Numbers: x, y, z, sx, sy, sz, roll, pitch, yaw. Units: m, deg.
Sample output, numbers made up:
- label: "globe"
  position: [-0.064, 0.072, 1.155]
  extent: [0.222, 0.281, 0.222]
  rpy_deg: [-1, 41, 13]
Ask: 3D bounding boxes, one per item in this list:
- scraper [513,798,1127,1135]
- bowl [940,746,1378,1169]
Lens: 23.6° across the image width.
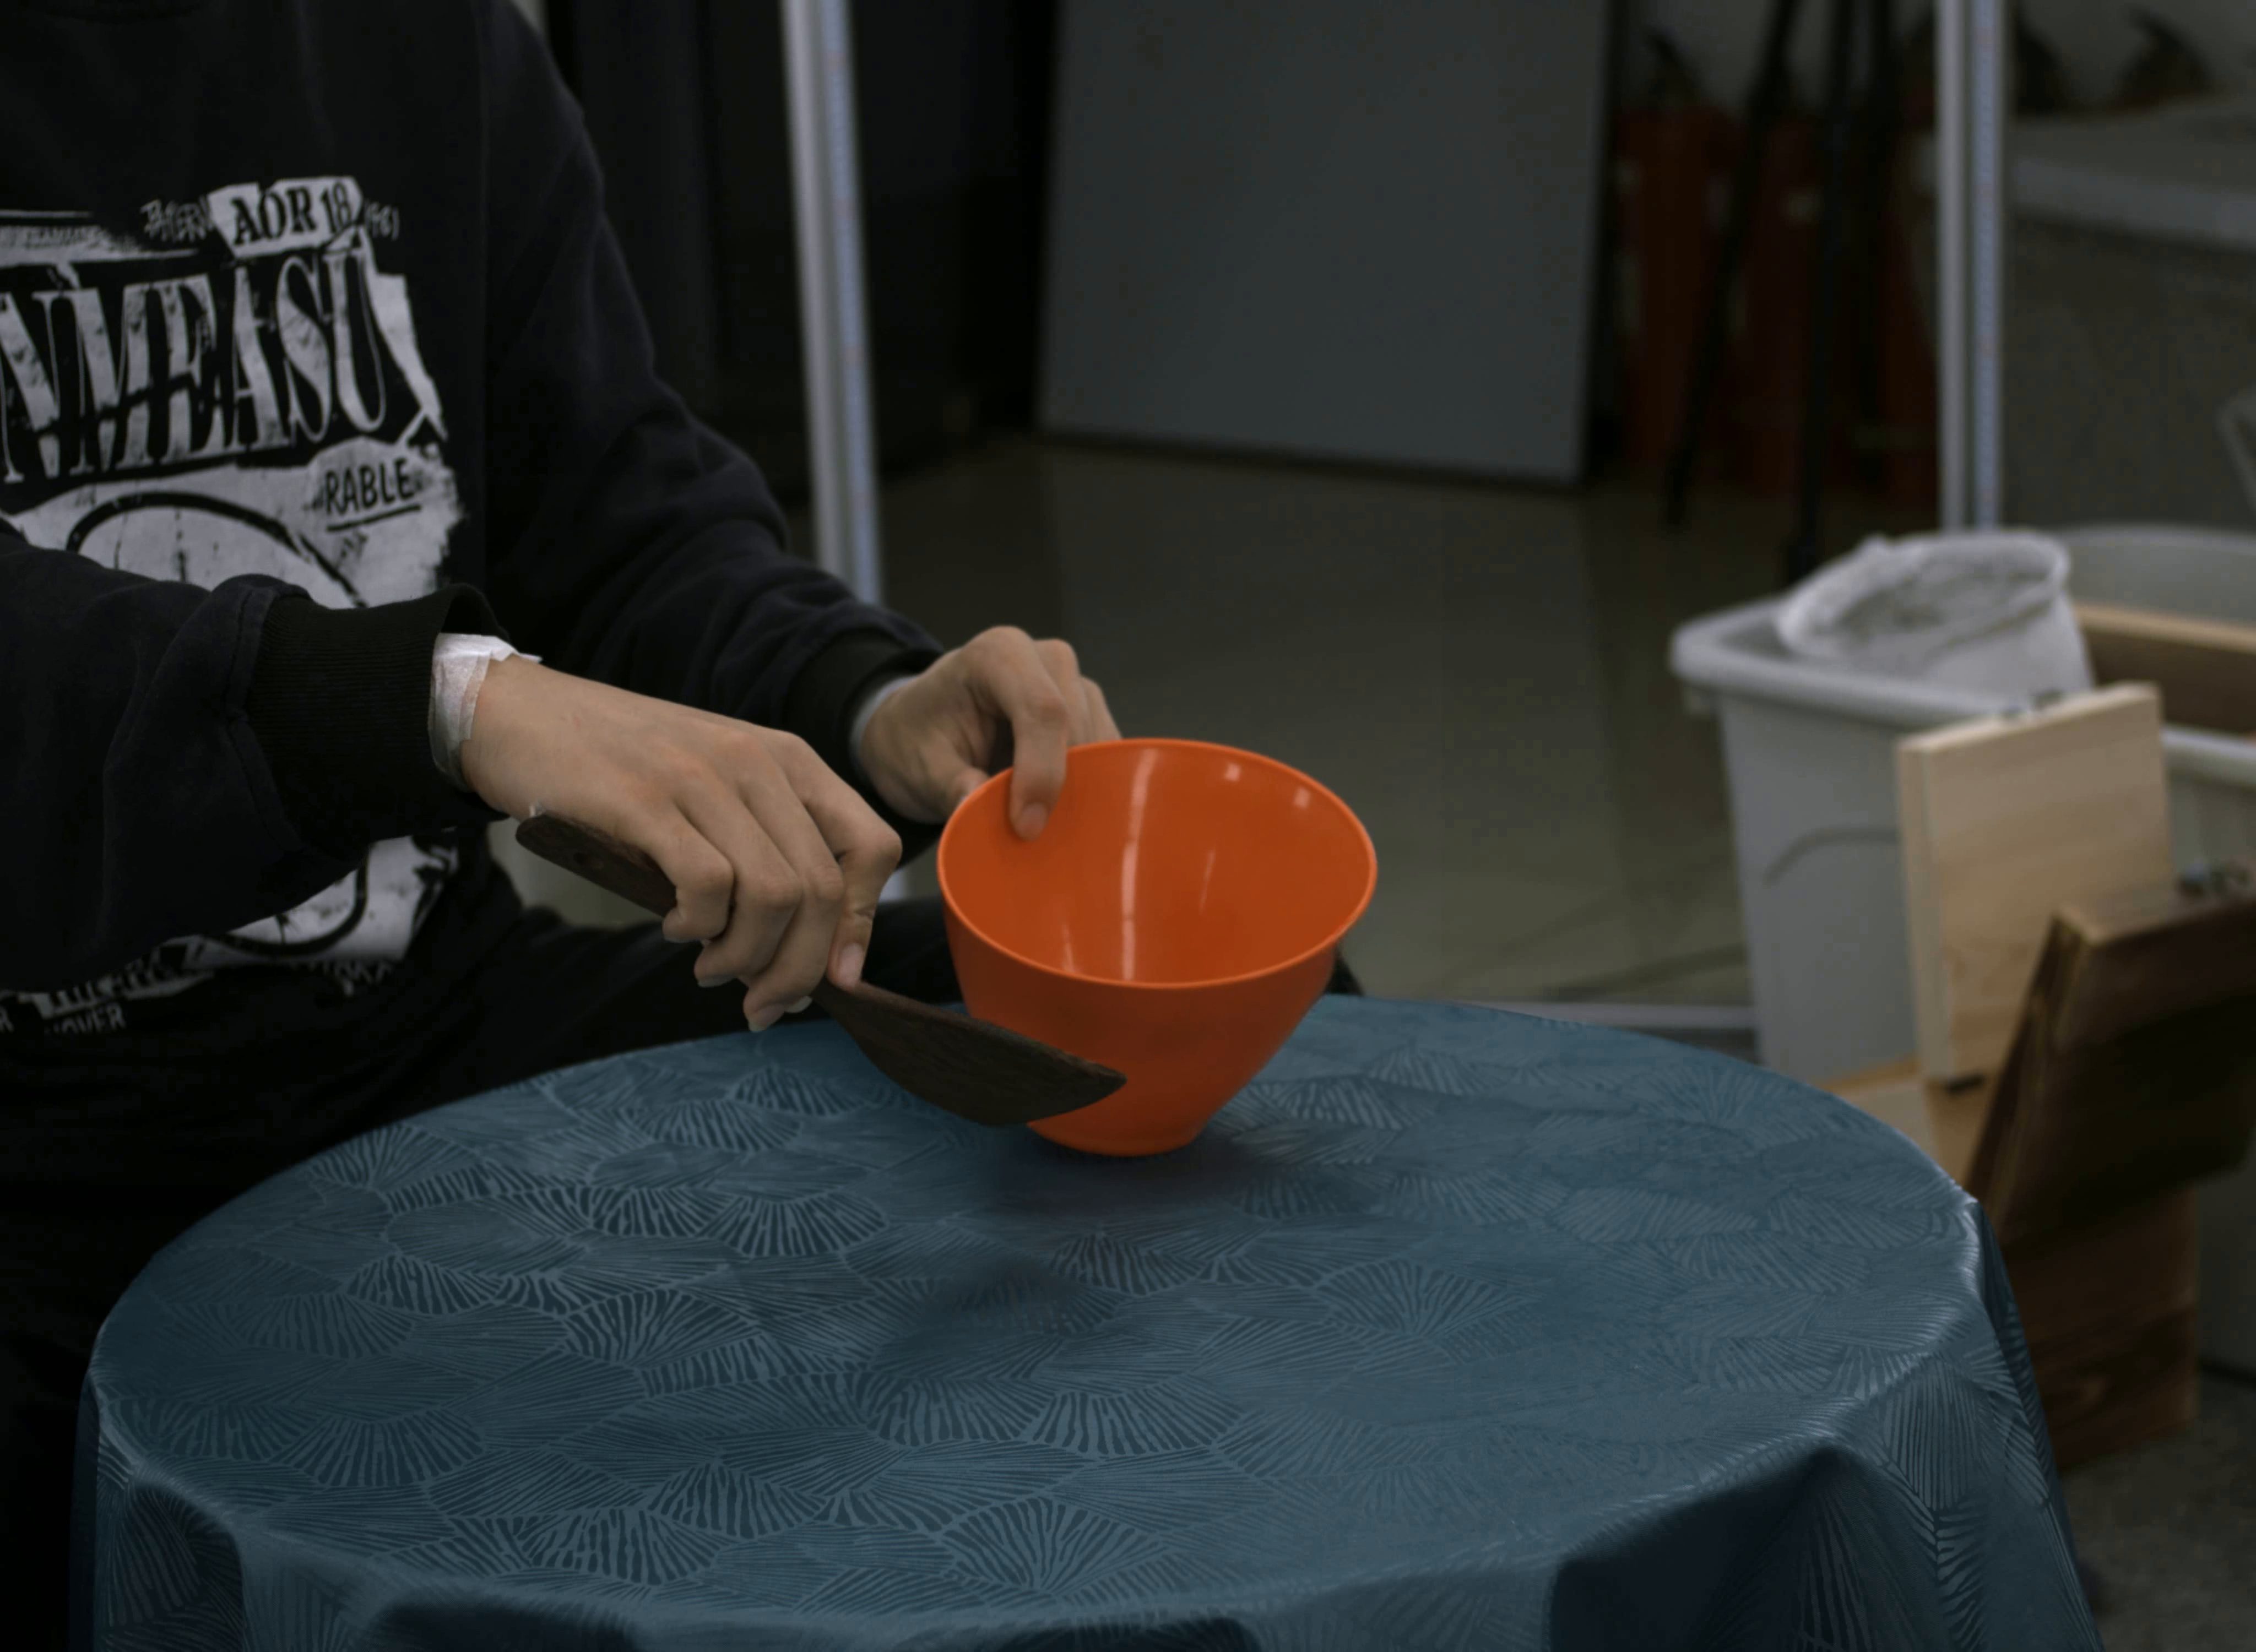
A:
- label: "scraper"
  position: [-0.097, 0.044, 1.651]
  extent: [0.208, 0.011, 0.076]
  rpy_deg: [31, -33, -24]
- label: "bowl"
  position: [0.006, 0.050, 1.814]
  extent: [0.146, 0.106, 0.148]
  rpy_deg: [5, 25, -3]
